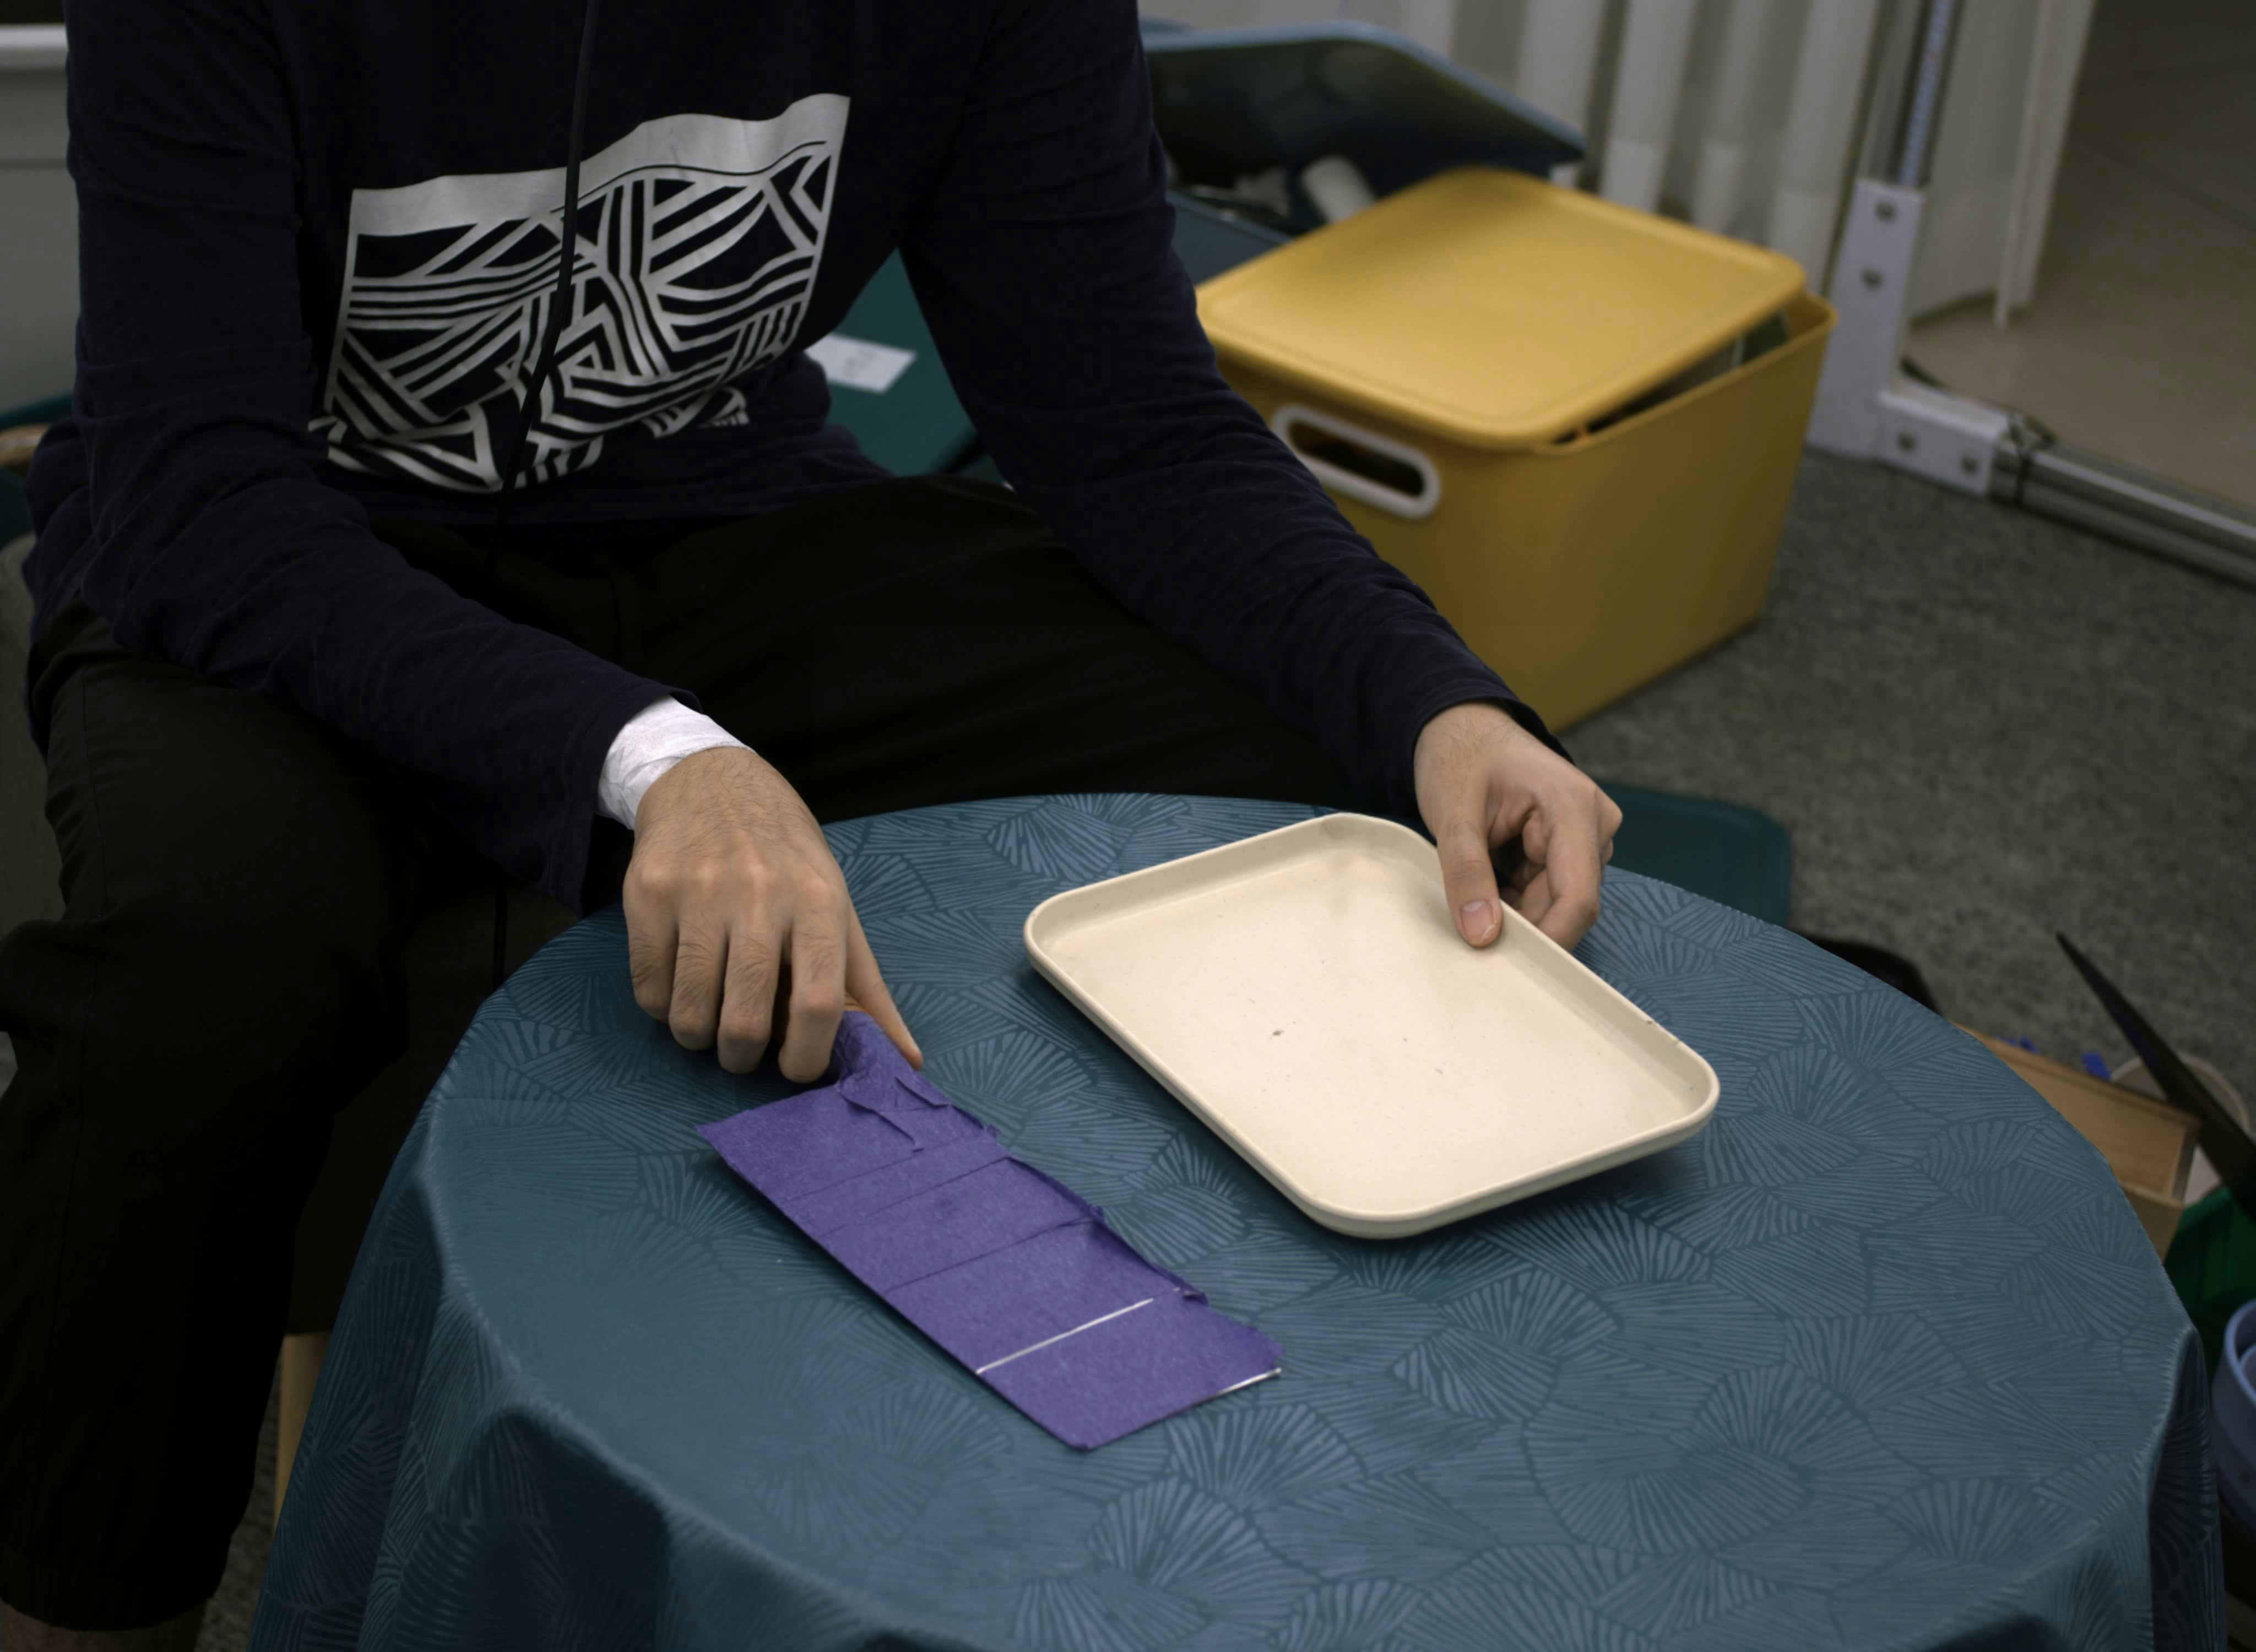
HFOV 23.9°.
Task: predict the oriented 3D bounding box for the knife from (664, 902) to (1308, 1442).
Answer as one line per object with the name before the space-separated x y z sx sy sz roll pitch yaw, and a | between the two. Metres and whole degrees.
knife | -0.078 0.112 1.782 0.103 0.032 0.318 -16 35 -37

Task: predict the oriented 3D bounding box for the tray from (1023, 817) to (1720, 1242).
tray | 0.084 0.071 1.894 0.170 0.017 0.242 -16 34 -26
